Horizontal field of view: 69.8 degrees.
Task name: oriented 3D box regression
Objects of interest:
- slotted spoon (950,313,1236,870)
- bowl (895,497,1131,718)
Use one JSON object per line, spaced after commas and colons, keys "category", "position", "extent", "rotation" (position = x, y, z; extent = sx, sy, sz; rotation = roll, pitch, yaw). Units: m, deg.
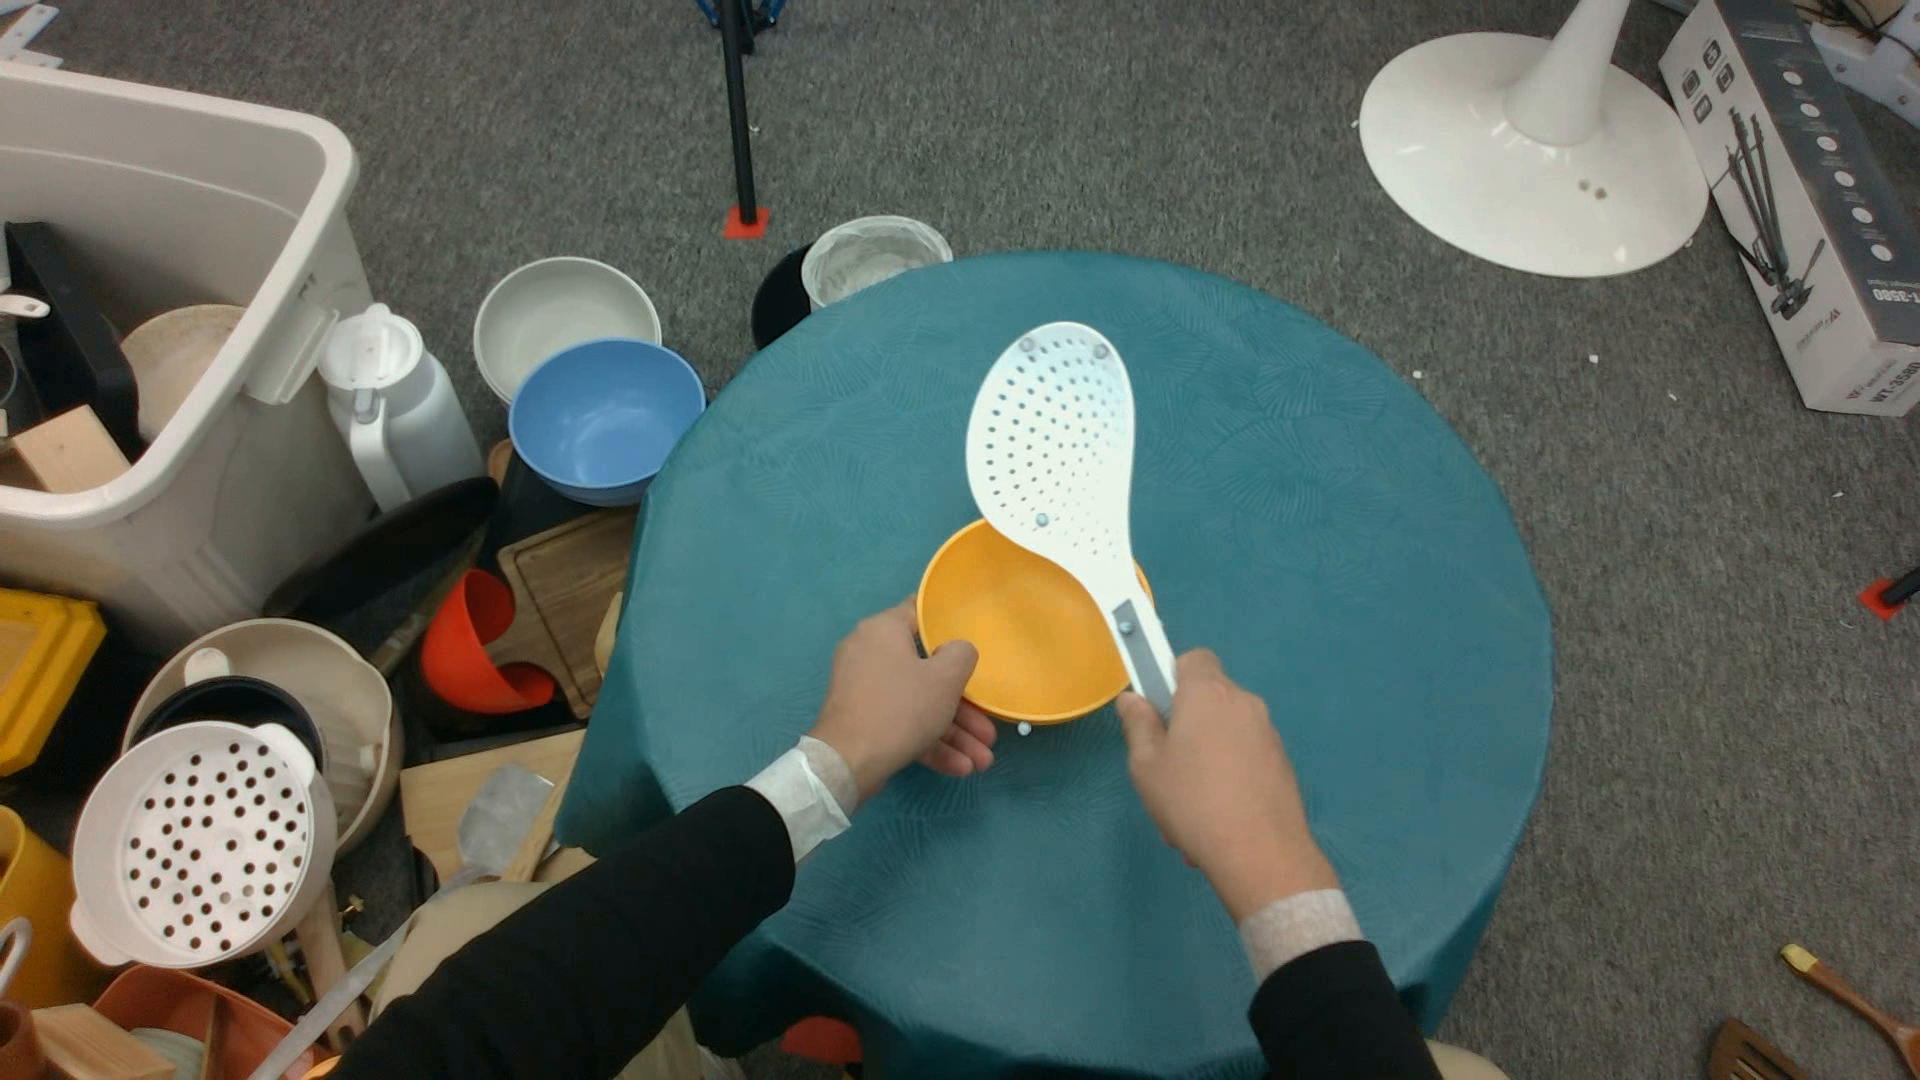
{"category": "slotted spoon", "position": [0.078, 0.019, 0.780], "extent": [0.046, 0.135, 0.351], "rotation": [18, 44, -40]}
{"category": "bowl", "position": [0.029, 0.050, 0.843], "extent": [0.145, 0.060, 0.146], "rotation": [4, 60, -7]}
